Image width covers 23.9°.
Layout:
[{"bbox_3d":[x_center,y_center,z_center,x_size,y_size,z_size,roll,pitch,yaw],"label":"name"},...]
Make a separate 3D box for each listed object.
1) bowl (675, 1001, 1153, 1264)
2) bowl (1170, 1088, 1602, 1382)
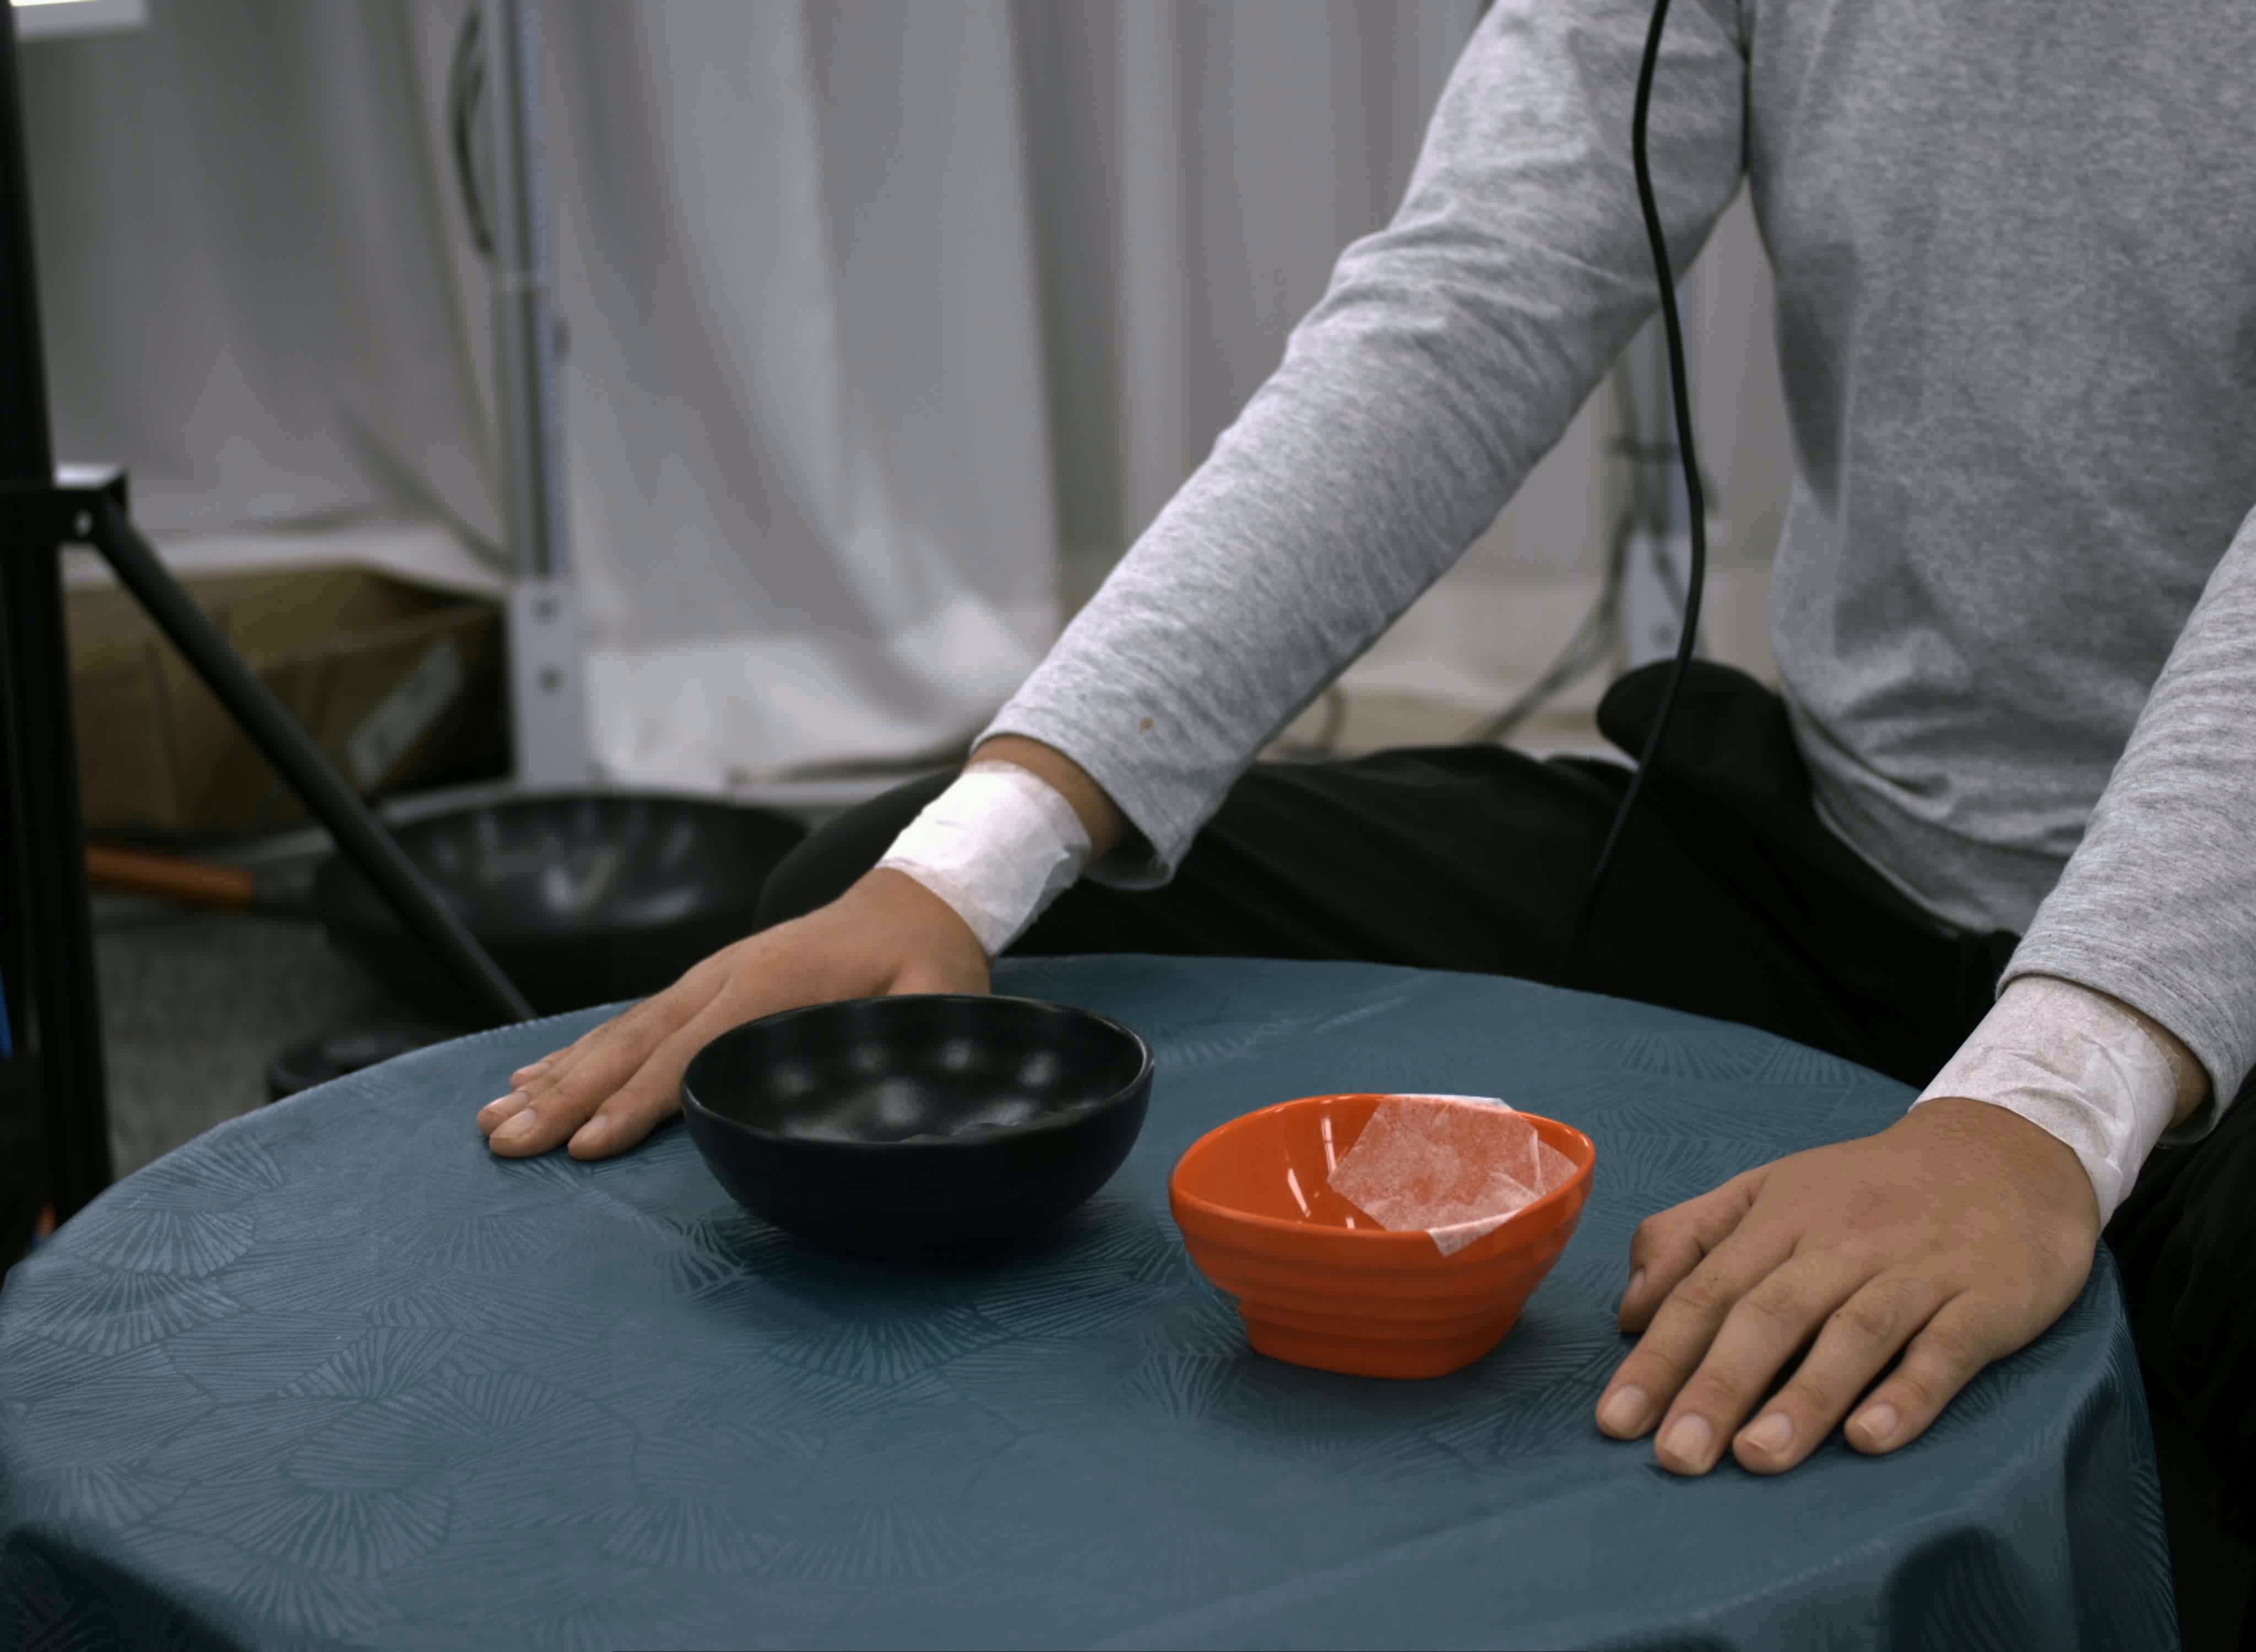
[{"bbox_3d":[-0.061,0.093,1.541,0.139,0.050,0.140,0,14,-1],"label":"bowl"},{"bbox_3d":[0.071,0.113,1.434,0.118,0.051,0.119,-4,16,0],"label":"bowl"}]
